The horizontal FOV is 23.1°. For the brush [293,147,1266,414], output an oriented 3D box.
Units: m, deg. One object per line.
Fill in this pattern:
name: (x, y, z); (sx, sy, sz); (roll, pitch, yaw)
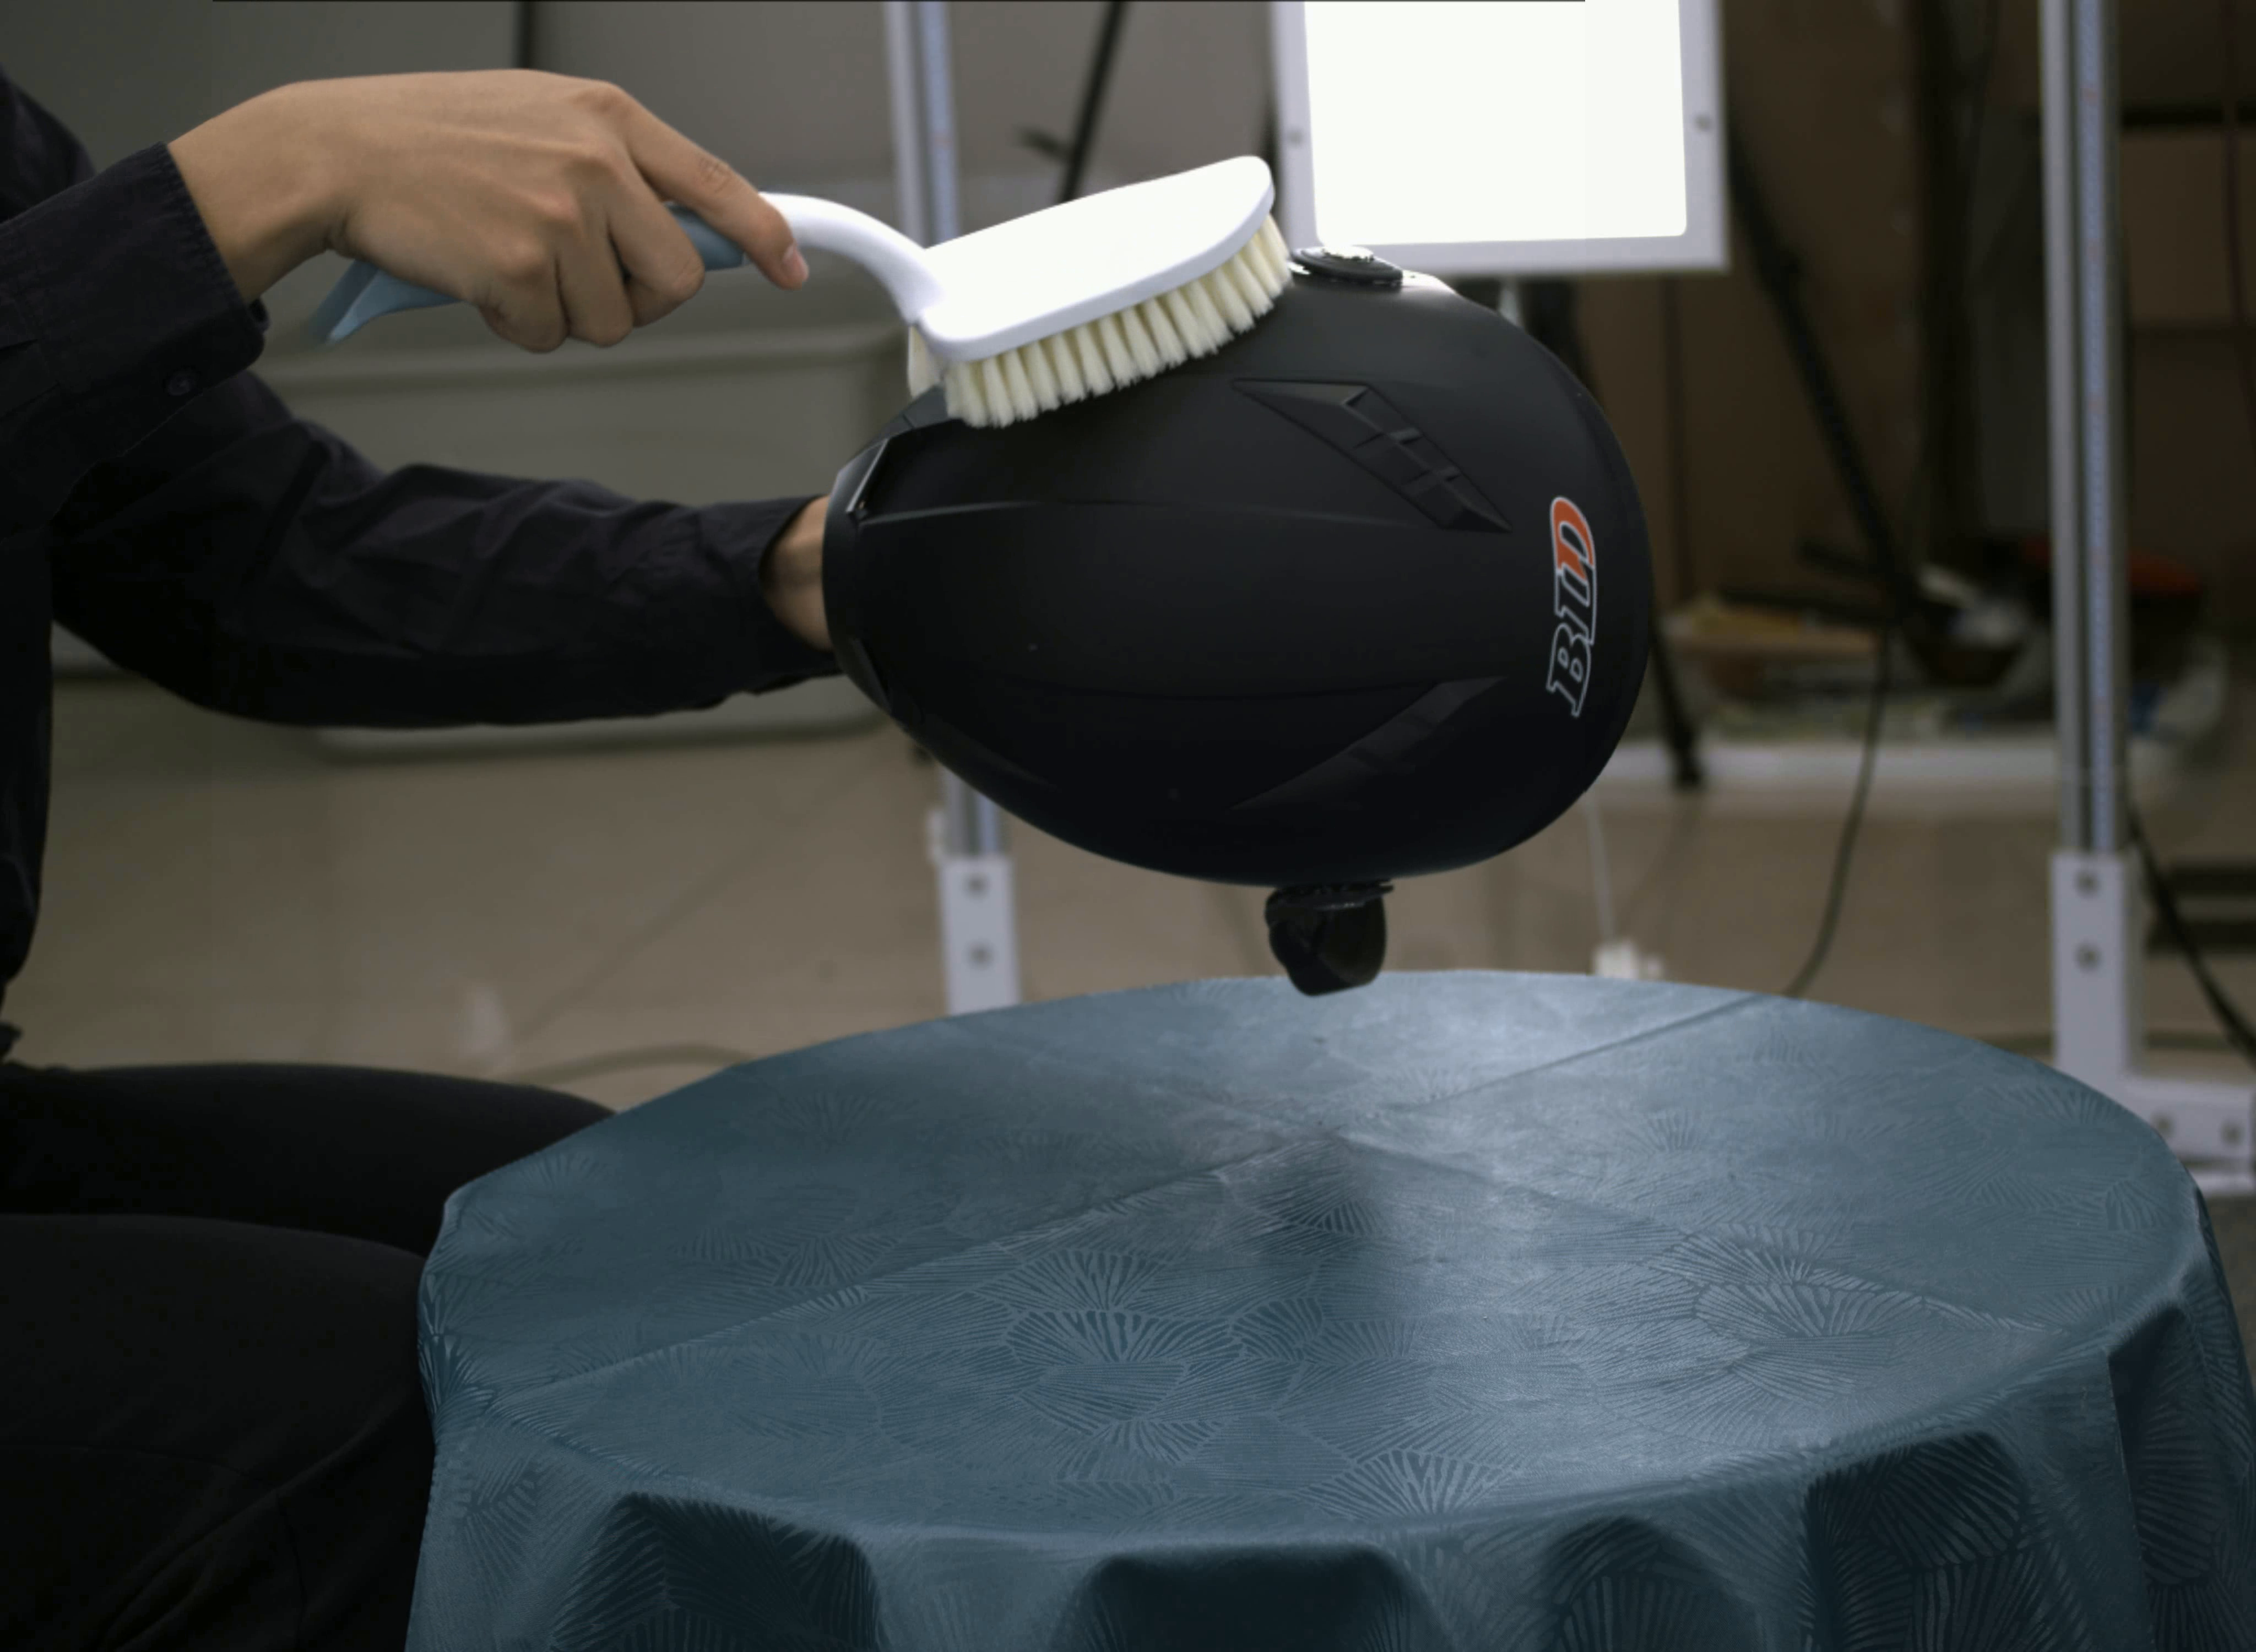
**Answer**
brush: (-0.111, -0.167, 1.805); (0.321, 0.085, 0.084); (-9, -4, -12)

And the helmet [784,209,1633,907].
helmet: (0.022, -0.087, 1.873); (0.282, 0.248, 0.168); (7, 11, 37)
